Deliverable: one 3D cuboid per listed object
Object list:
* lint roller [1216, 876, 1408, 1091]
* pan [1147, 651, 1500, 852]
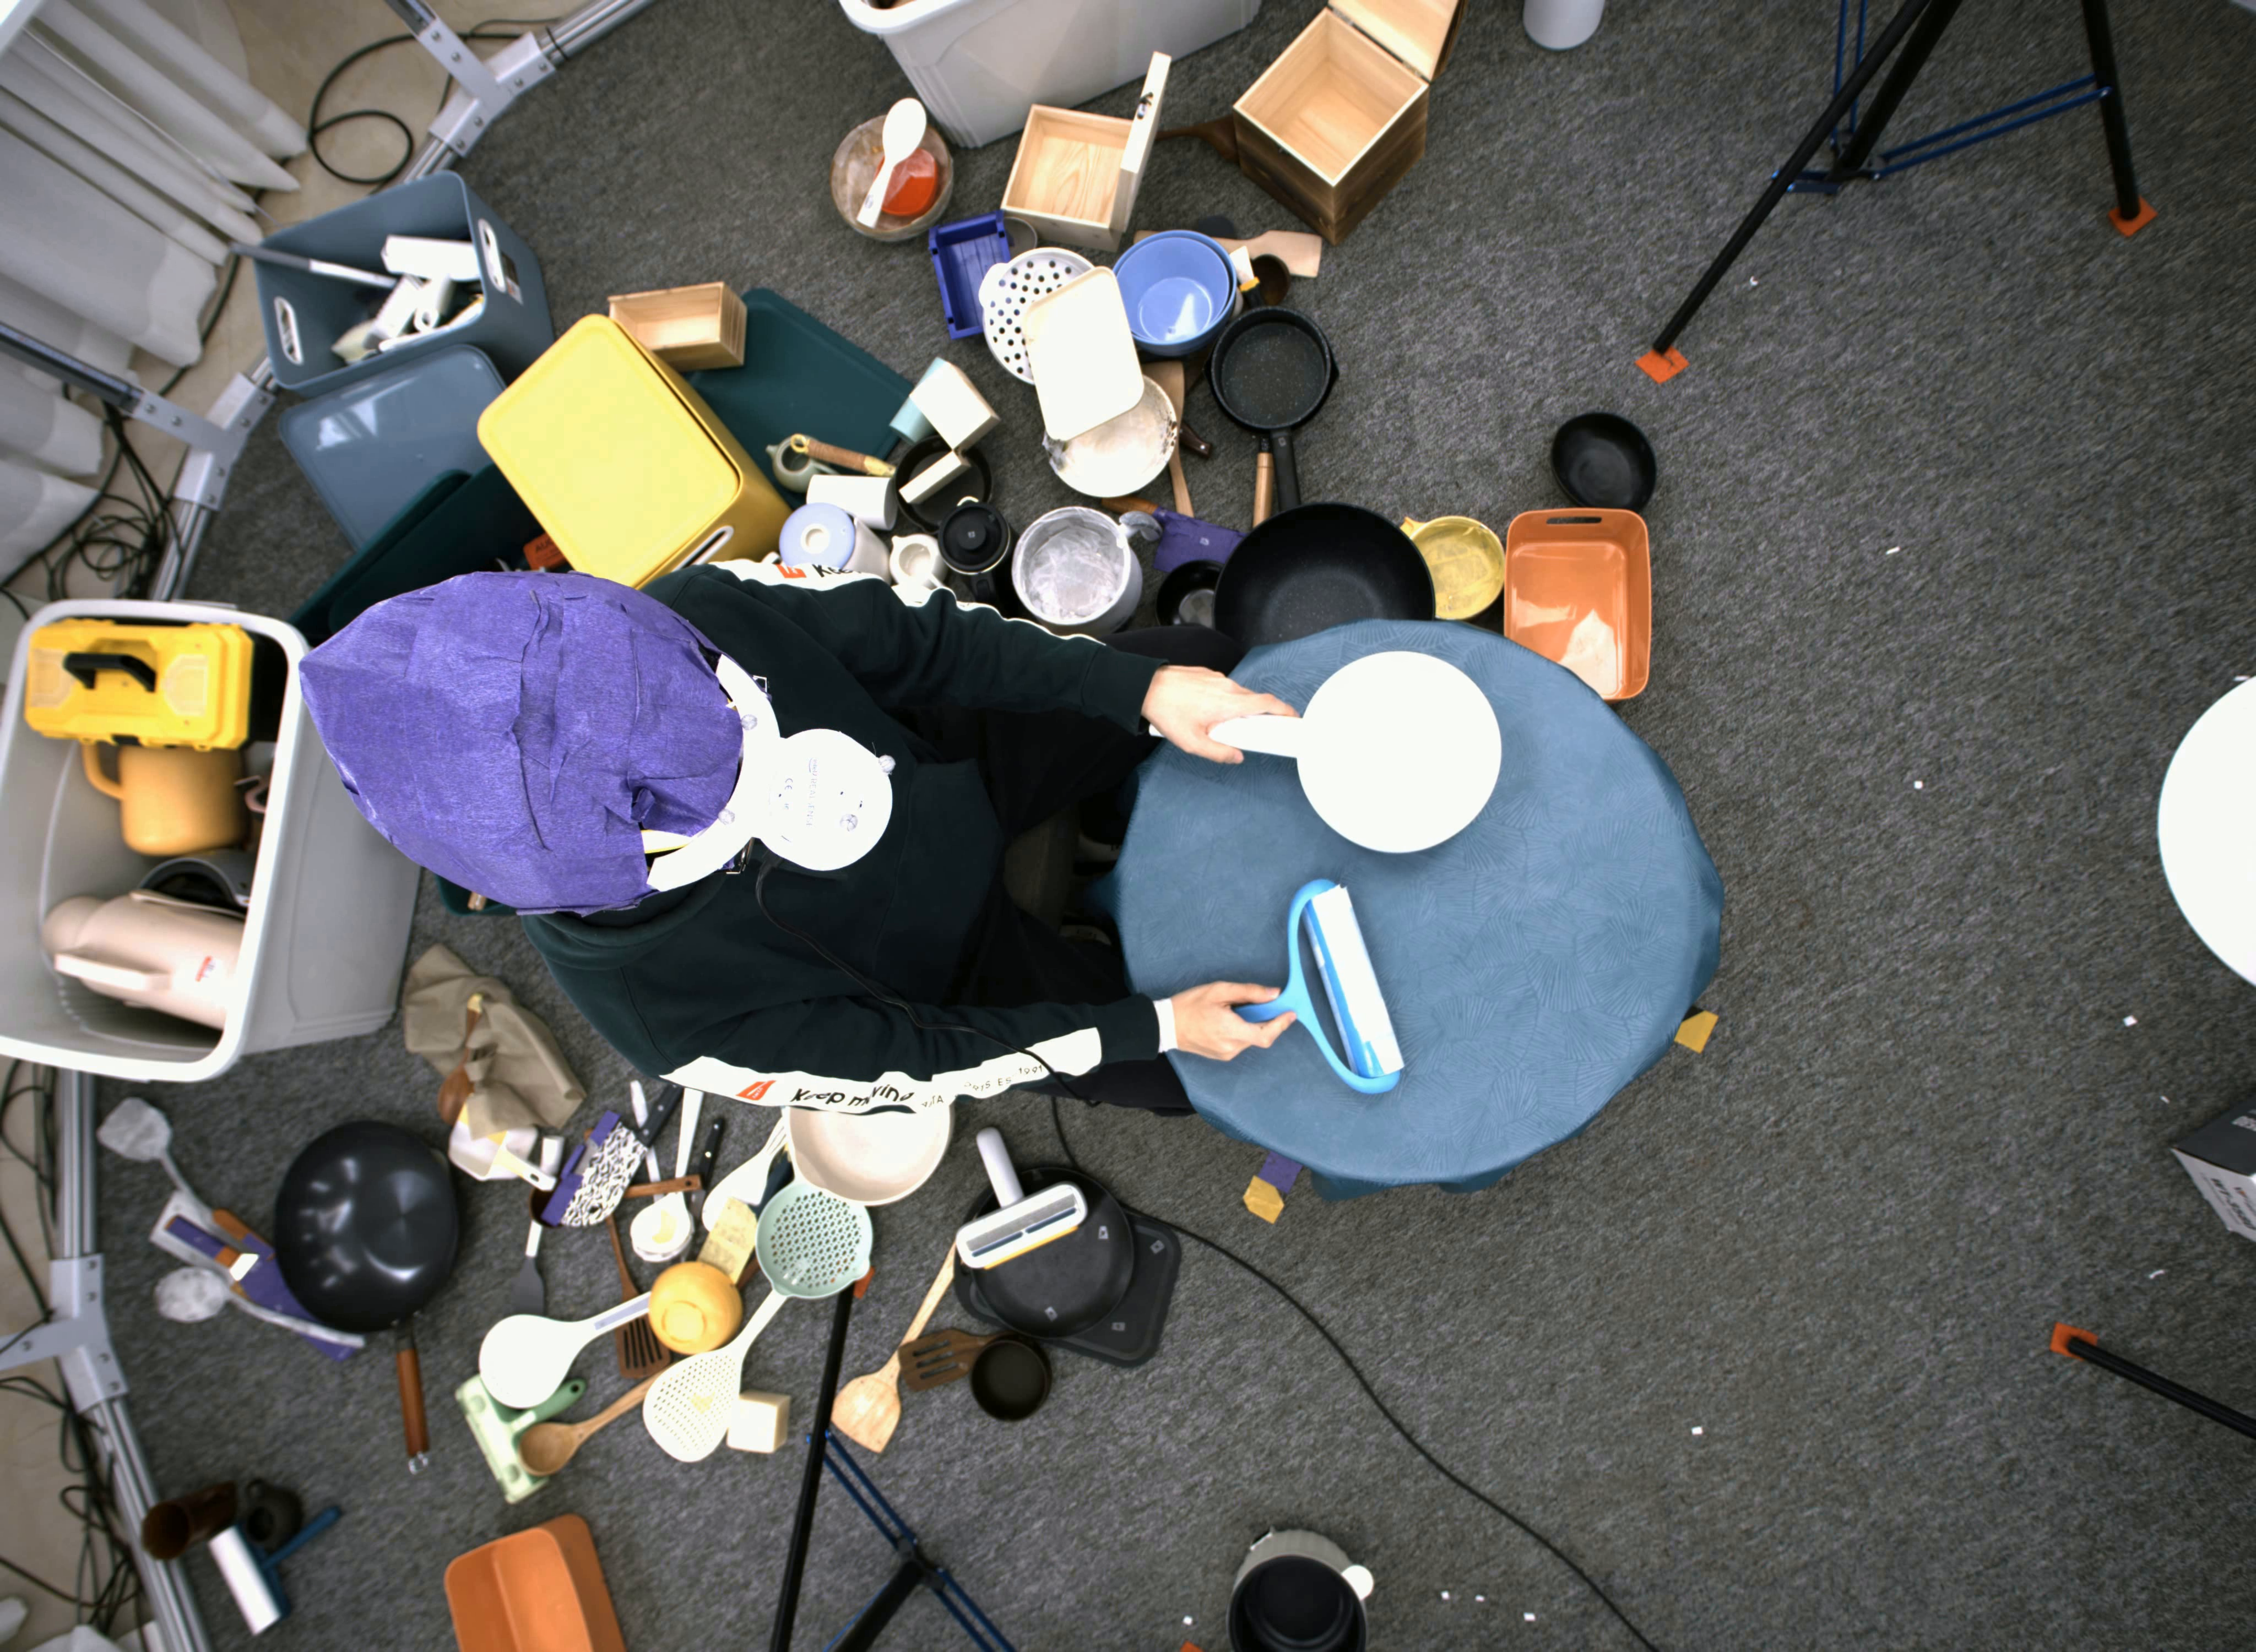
[{"bbox_3d":[0.176,0.182,1.437,0.181,0.068,0.228,-21,85,6],"label":"lint roller"},{"bbox_3d":[0.201,-0.085,1.426,0.355,0.102,0.201,10,89,12],"label":"pan"}]
